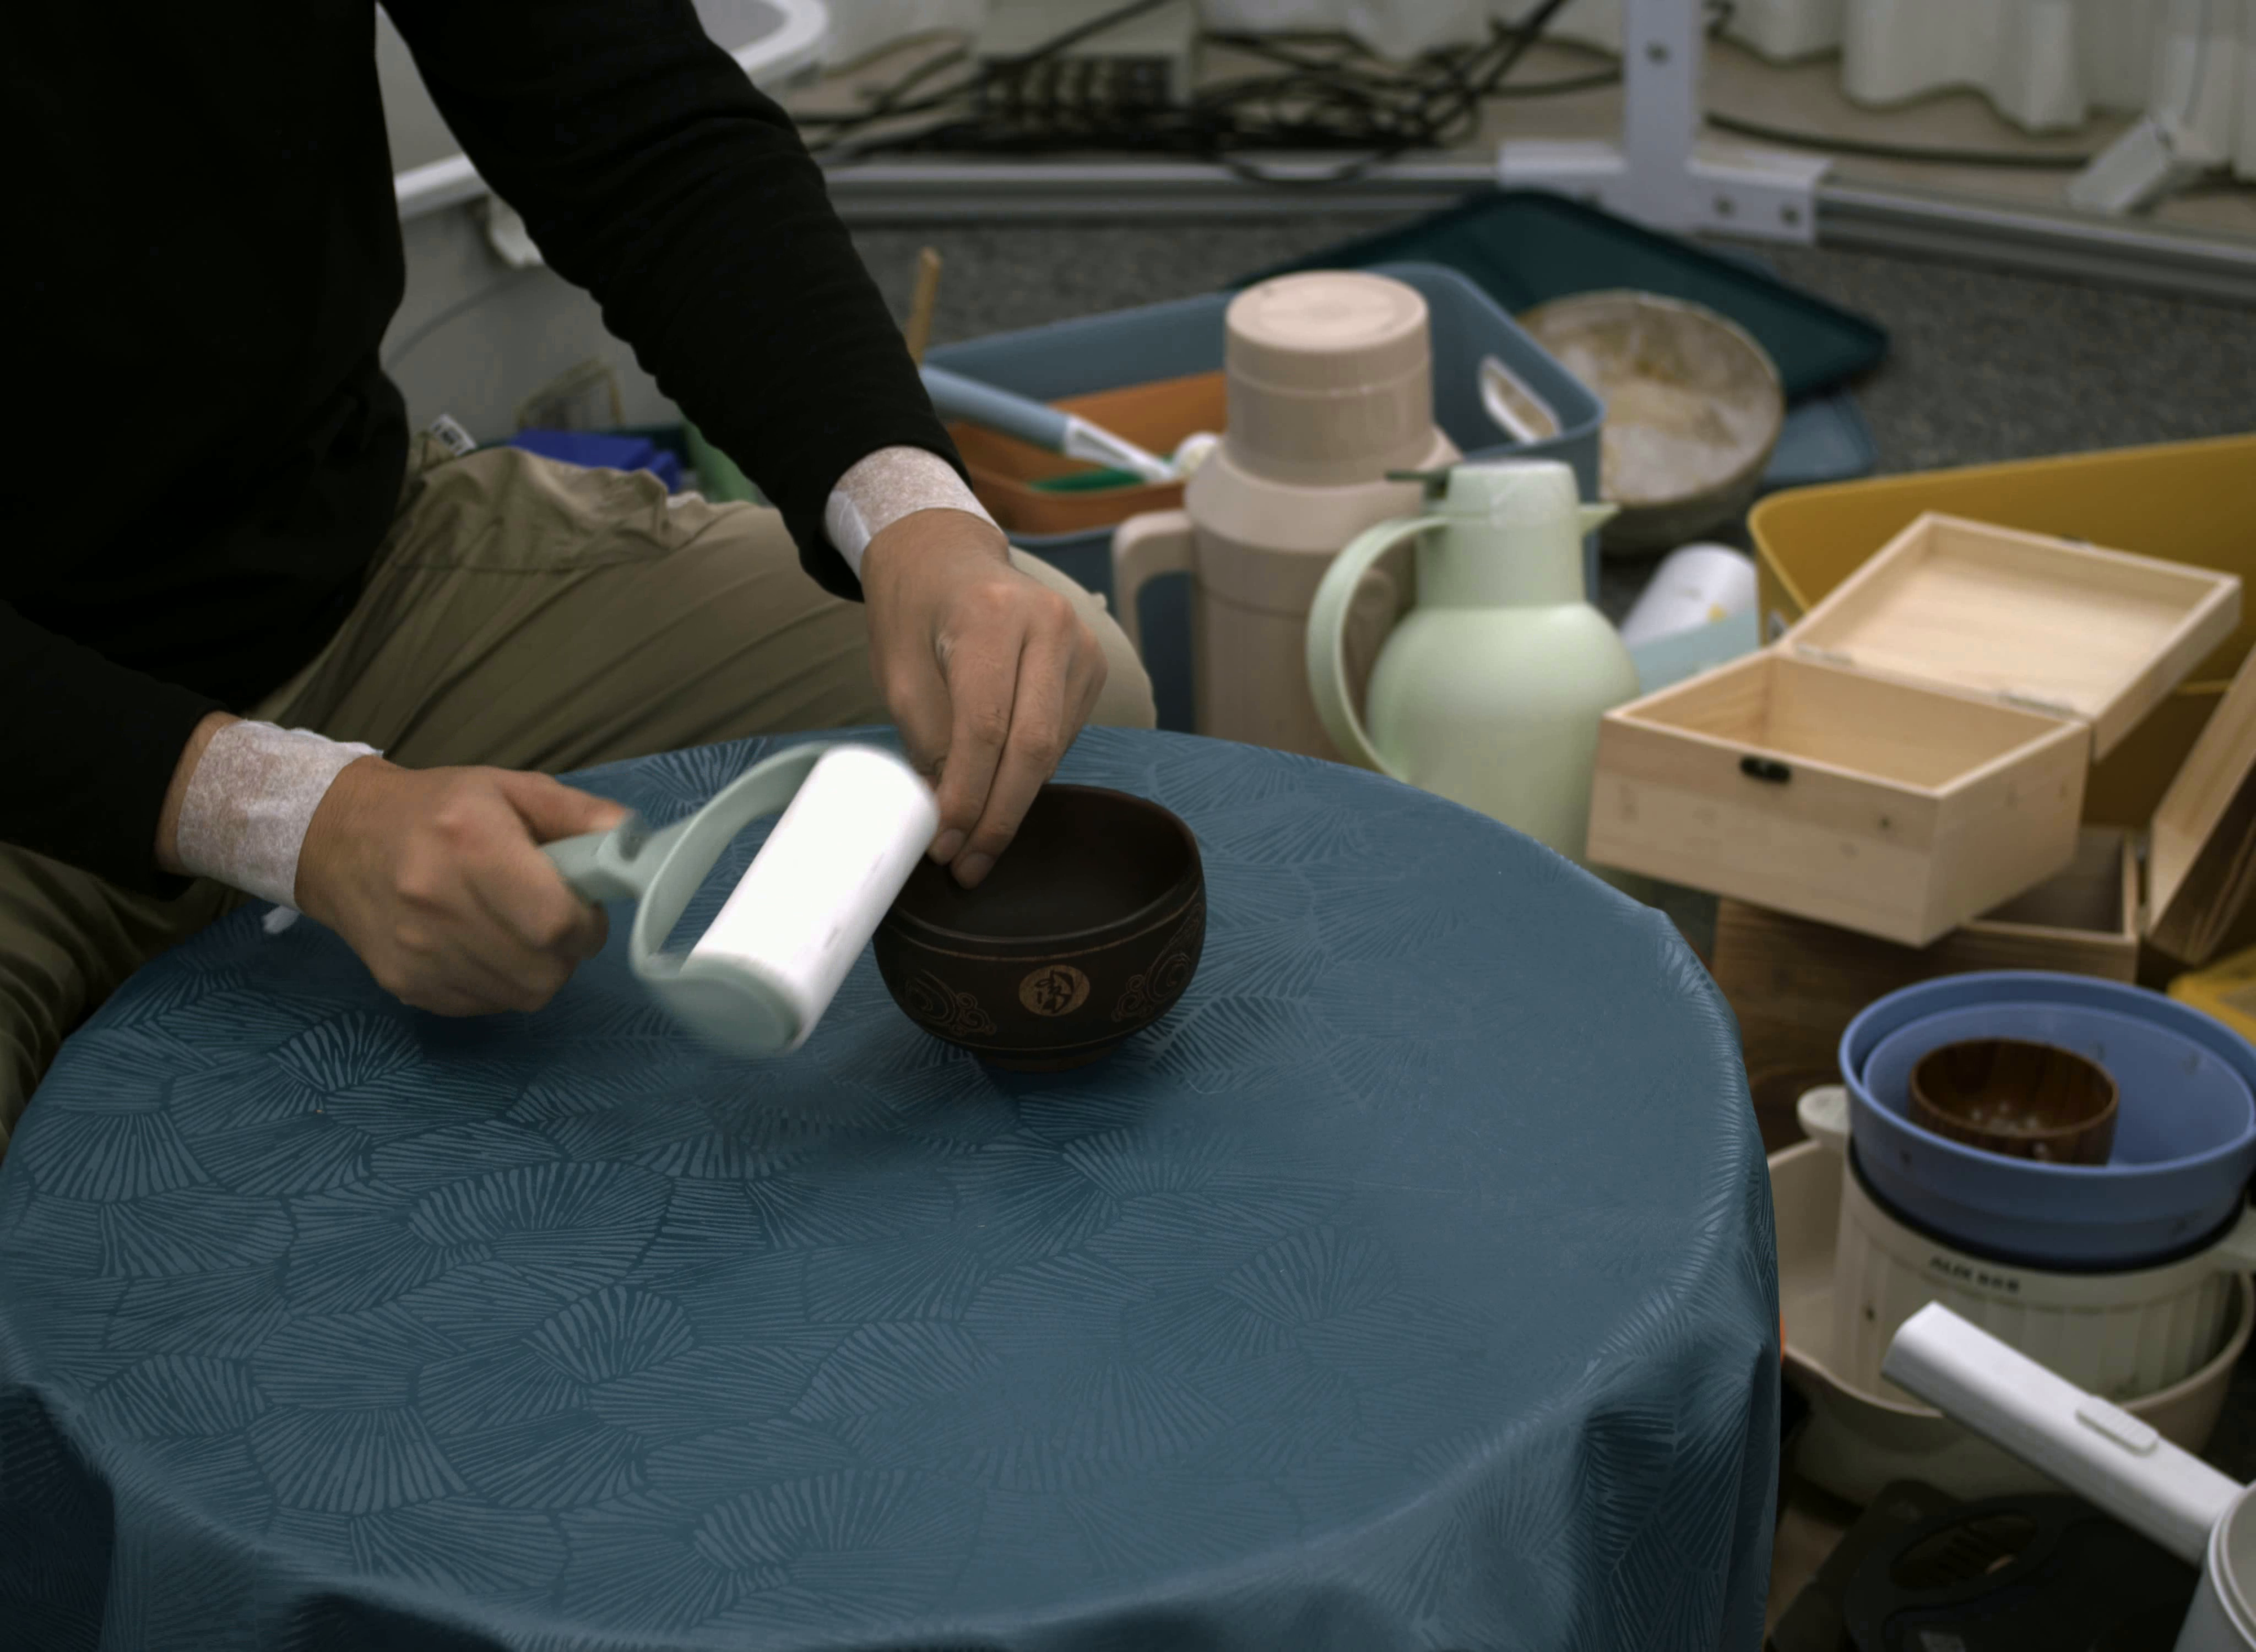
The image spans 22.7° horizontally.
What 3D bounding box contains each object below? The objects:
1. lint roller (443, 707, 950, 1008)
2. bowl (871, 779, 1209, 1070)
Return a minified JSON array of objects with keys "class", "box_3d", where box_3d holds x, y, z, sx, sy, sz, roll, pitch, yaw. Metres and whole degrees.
[{"class":"lint roller","box_3d":[-0.161,0.015,1.935,0.195,0.048,0.119,-4,40,31]},{"class":"bowl","box_3d":[-0.030,0.041,1.943,0.117,0.069,0.120,-3,27,2]}]
